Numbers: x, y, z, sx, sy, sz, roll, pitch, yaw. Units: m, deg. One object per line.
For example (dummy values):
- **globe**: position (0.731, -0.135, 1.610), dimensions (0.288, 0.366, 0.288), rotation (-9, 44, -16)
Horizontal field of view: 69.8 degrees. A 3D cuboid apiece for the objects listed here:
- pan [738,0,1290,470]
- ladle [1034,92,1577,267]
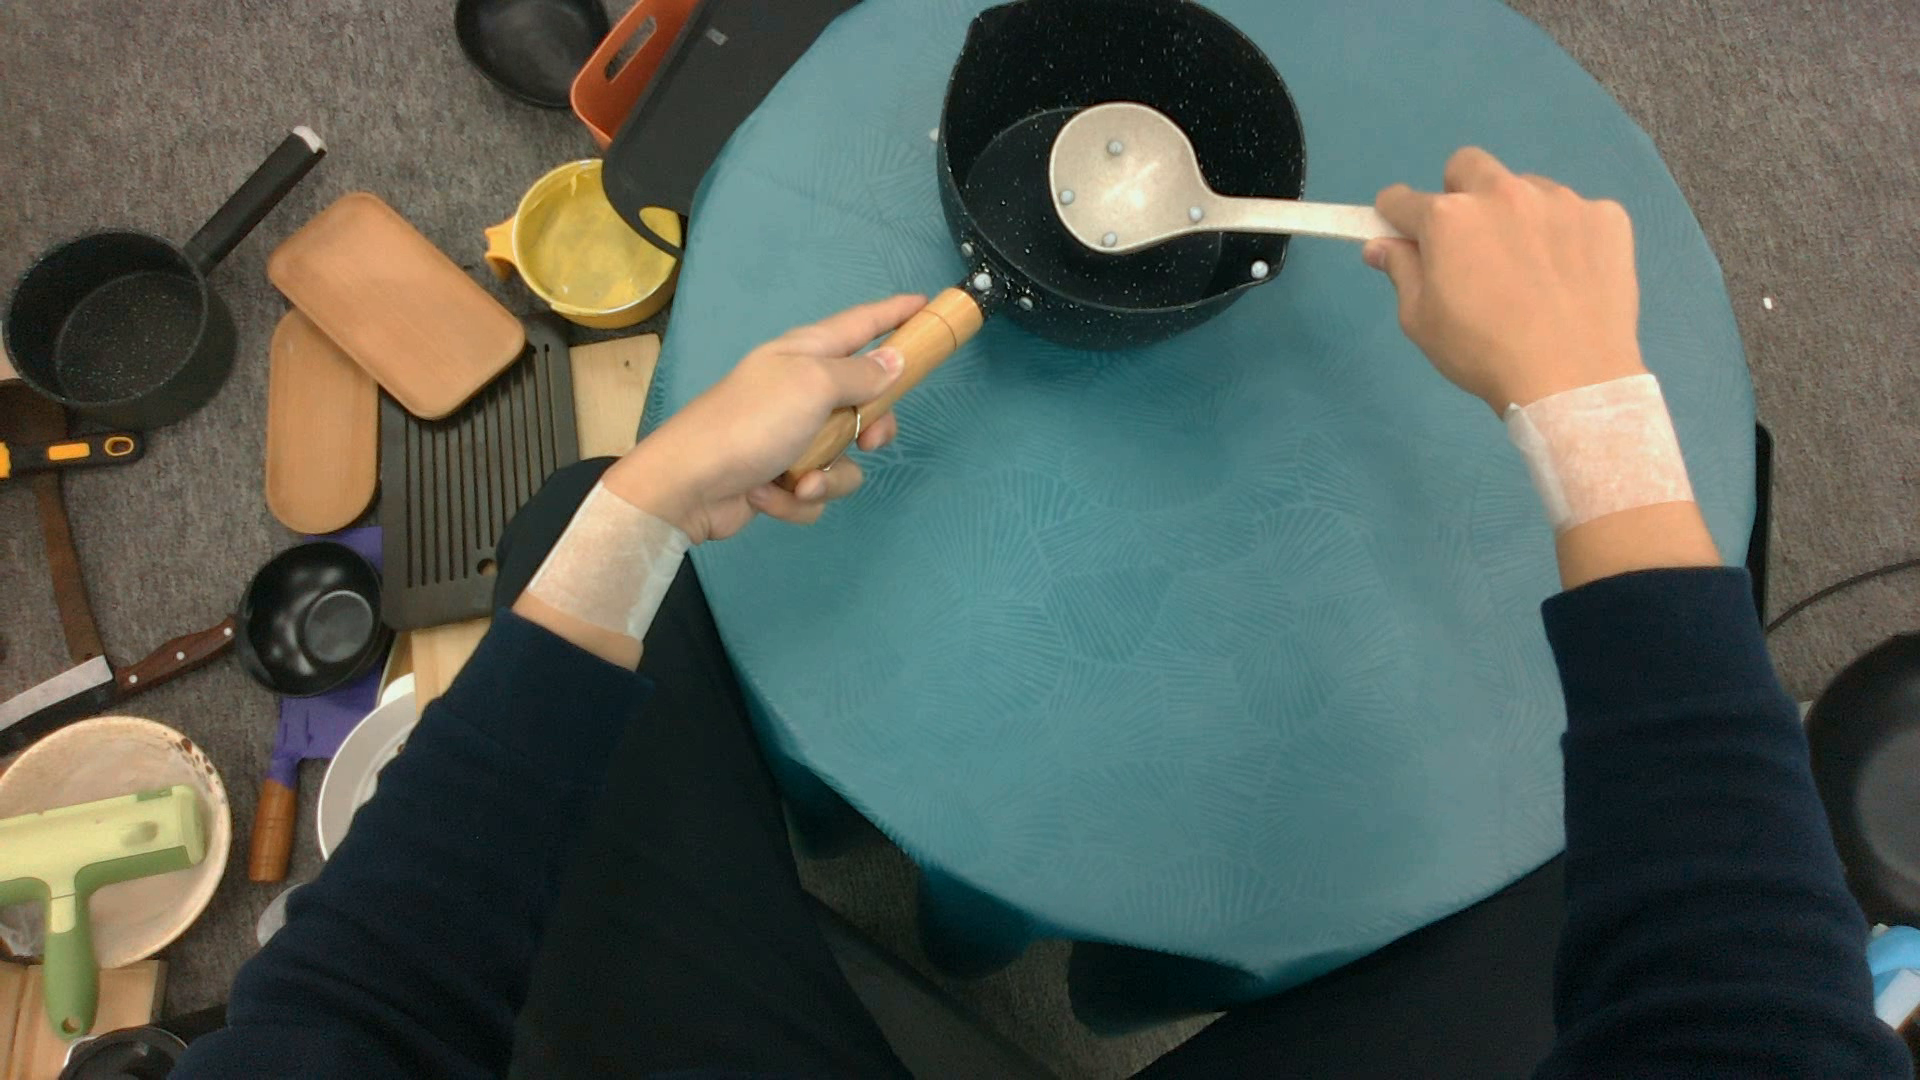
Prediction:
- **pan**: position (0.019, -0.140, 0.685), dimensions (0.207, 0.108, 0.344), rotation (41, 71, 4)
- **ladle**: position (0.153, -0.173, 0.658), dimensions (0.274, 0.069, 0.089), rotation (19, 60, 44)
